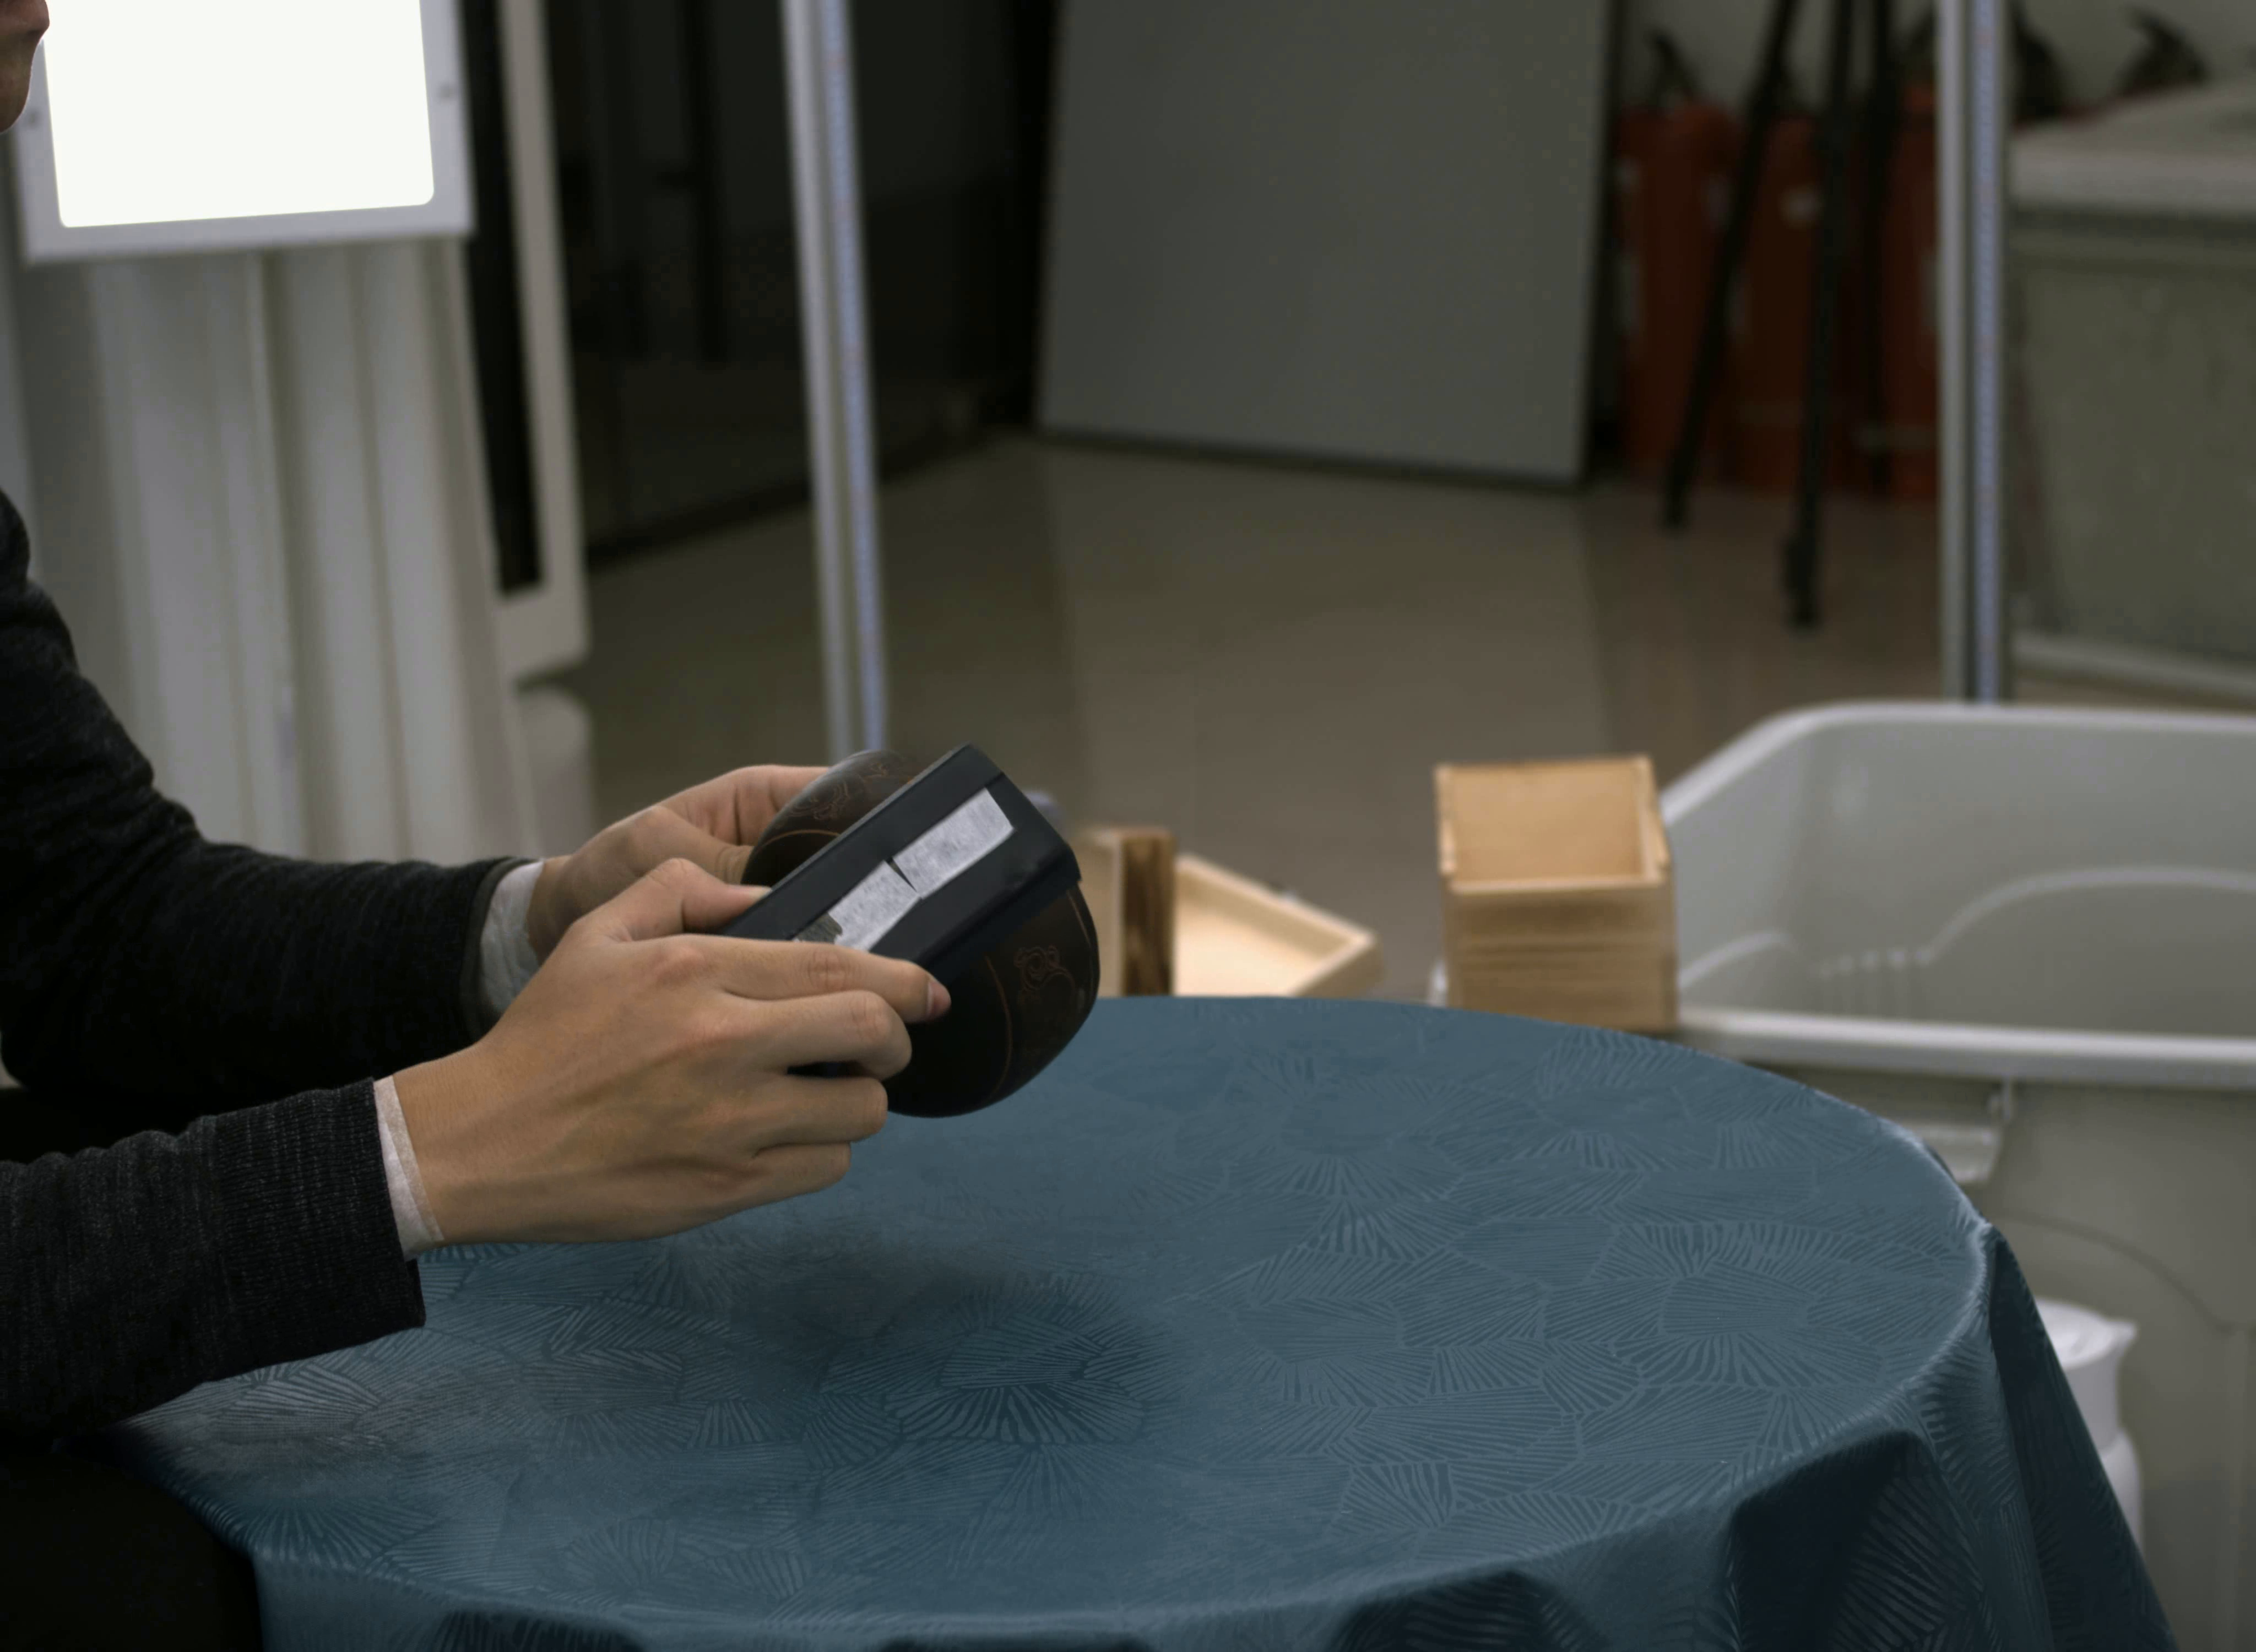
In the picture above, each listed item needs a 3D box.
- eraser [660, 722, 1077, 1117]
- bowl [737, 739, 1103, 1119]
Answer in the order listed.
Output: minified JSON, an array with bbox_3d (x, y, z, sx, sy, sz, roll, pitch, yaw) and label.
[{"bbox_3d":[-0.076,0.027,1.608,0.124,0.030,0.054,-41,69,-14],"label":"eraser"},{"bbox_3d":[-0.072,0.040,1.675,0.119,0.118,0.069,7,35,36],"label":"bowl"}]
